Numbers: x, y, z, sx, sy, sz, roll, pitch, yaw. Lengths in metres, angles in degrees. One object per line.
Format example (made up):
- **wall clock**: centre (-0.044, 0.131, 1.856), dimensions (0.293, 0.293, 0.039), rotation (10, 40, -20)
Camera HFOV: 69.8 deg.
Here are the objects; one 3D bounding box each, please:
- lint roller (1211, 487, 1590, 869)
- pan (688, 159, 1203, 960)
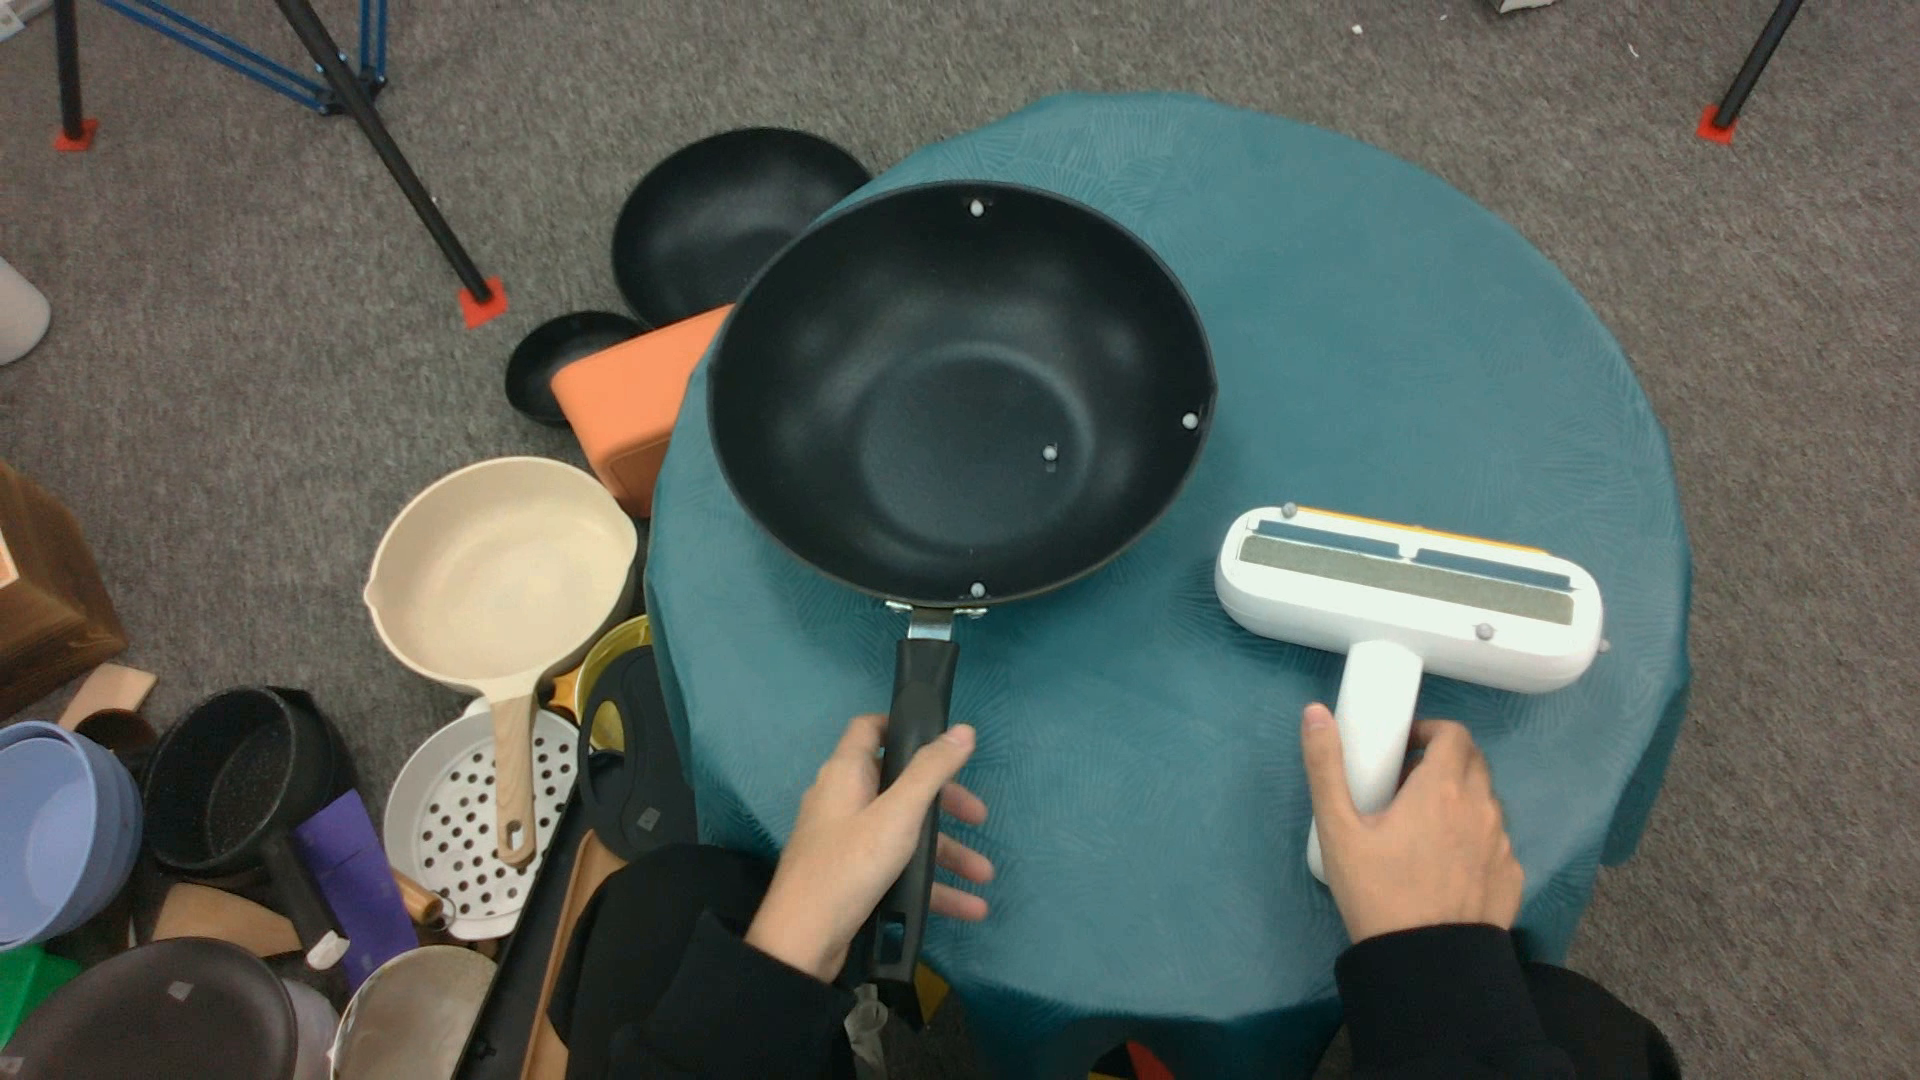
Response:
- **lint roller**: centre (0.209, 0.075, 0.716), dimensions (0.193, 0.074, 0.193), rotation (17, 67, 17)
- **pan**: centre (-0.017, -0.003, 0.757), dimensions (0.288, 0.086, 0.465), rotation (4, 64, 5)
